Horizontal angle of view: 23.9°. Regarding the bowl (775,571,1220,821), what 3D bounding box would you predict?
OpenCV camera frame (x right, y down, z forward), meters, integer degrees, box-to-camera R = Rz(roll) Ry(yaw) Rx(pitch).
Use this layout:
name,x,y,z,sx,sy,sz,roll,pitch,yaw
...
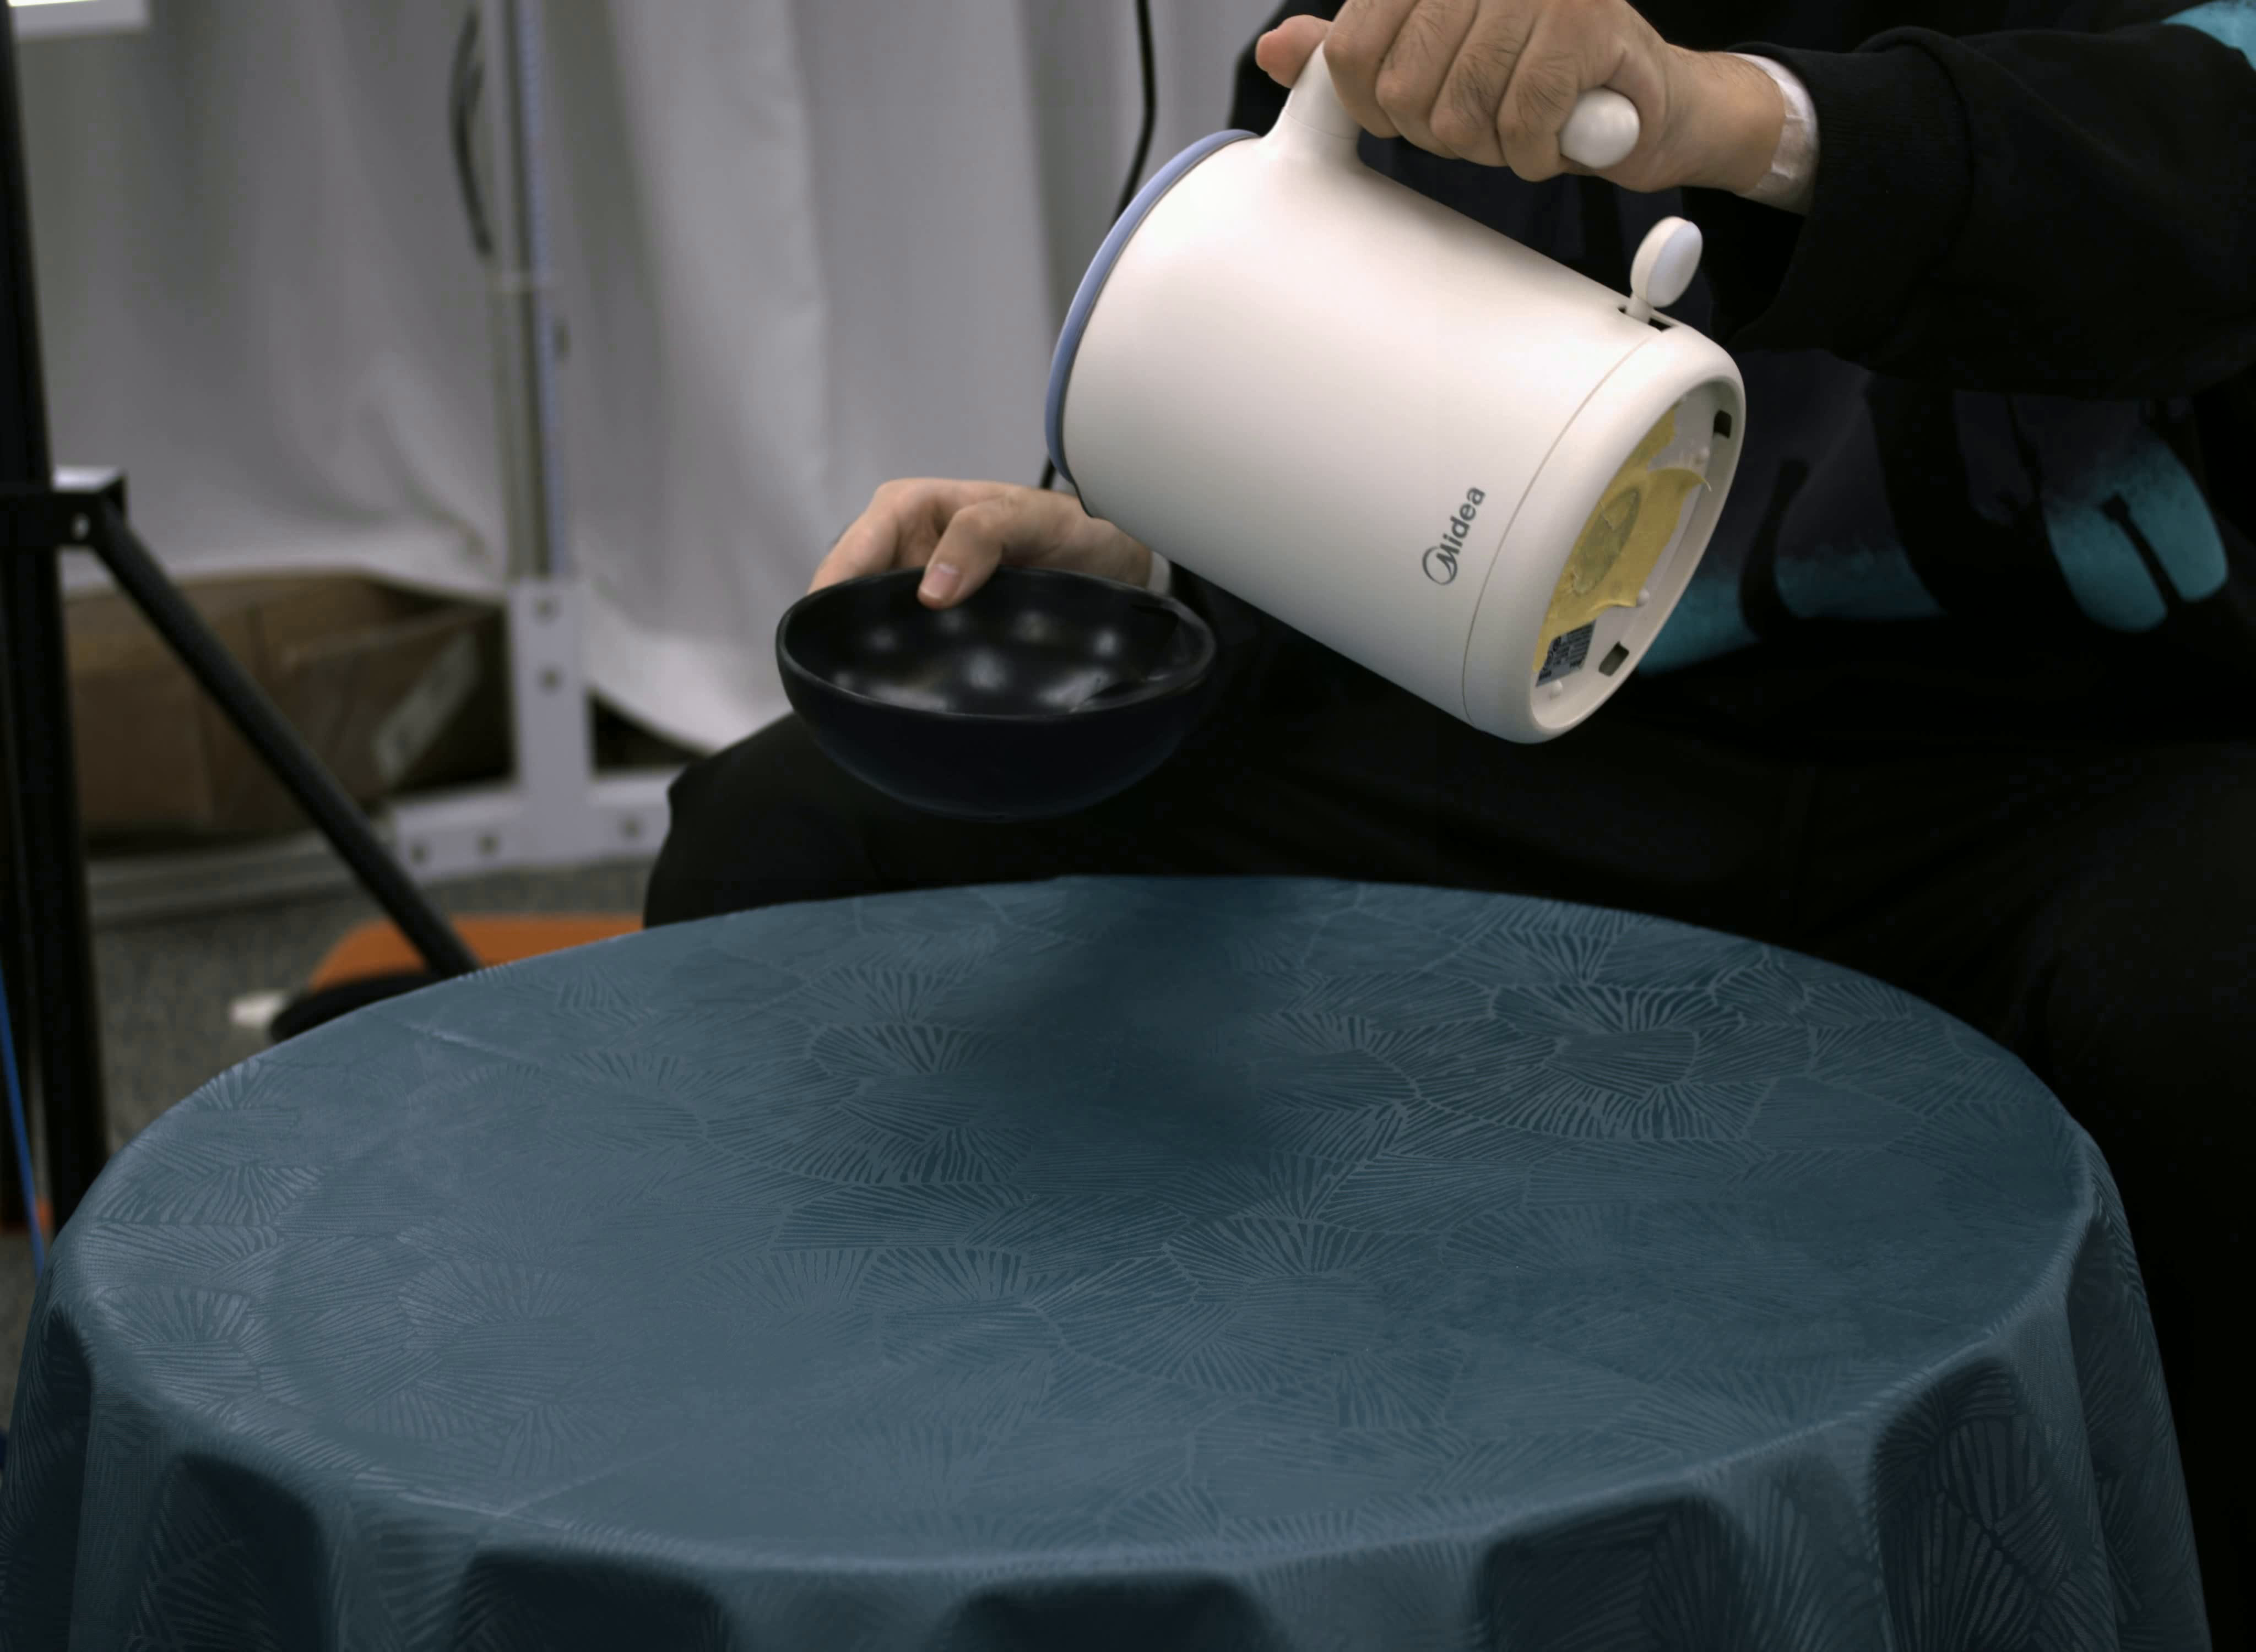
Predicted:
name,x,y,z,sx,sy,sz,roll,pitch,yaw
bowl,-0.041,-0.036,1.664,0.139,0.050,0.141,1,19,-2

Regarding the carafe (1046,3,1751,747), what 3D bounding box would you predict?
name,x,y,z,sx,sy,sz,roll,pitch,yaw
carafe,0.088,-0.138,1.553,0.185,0.192,0.130,32,21,20
